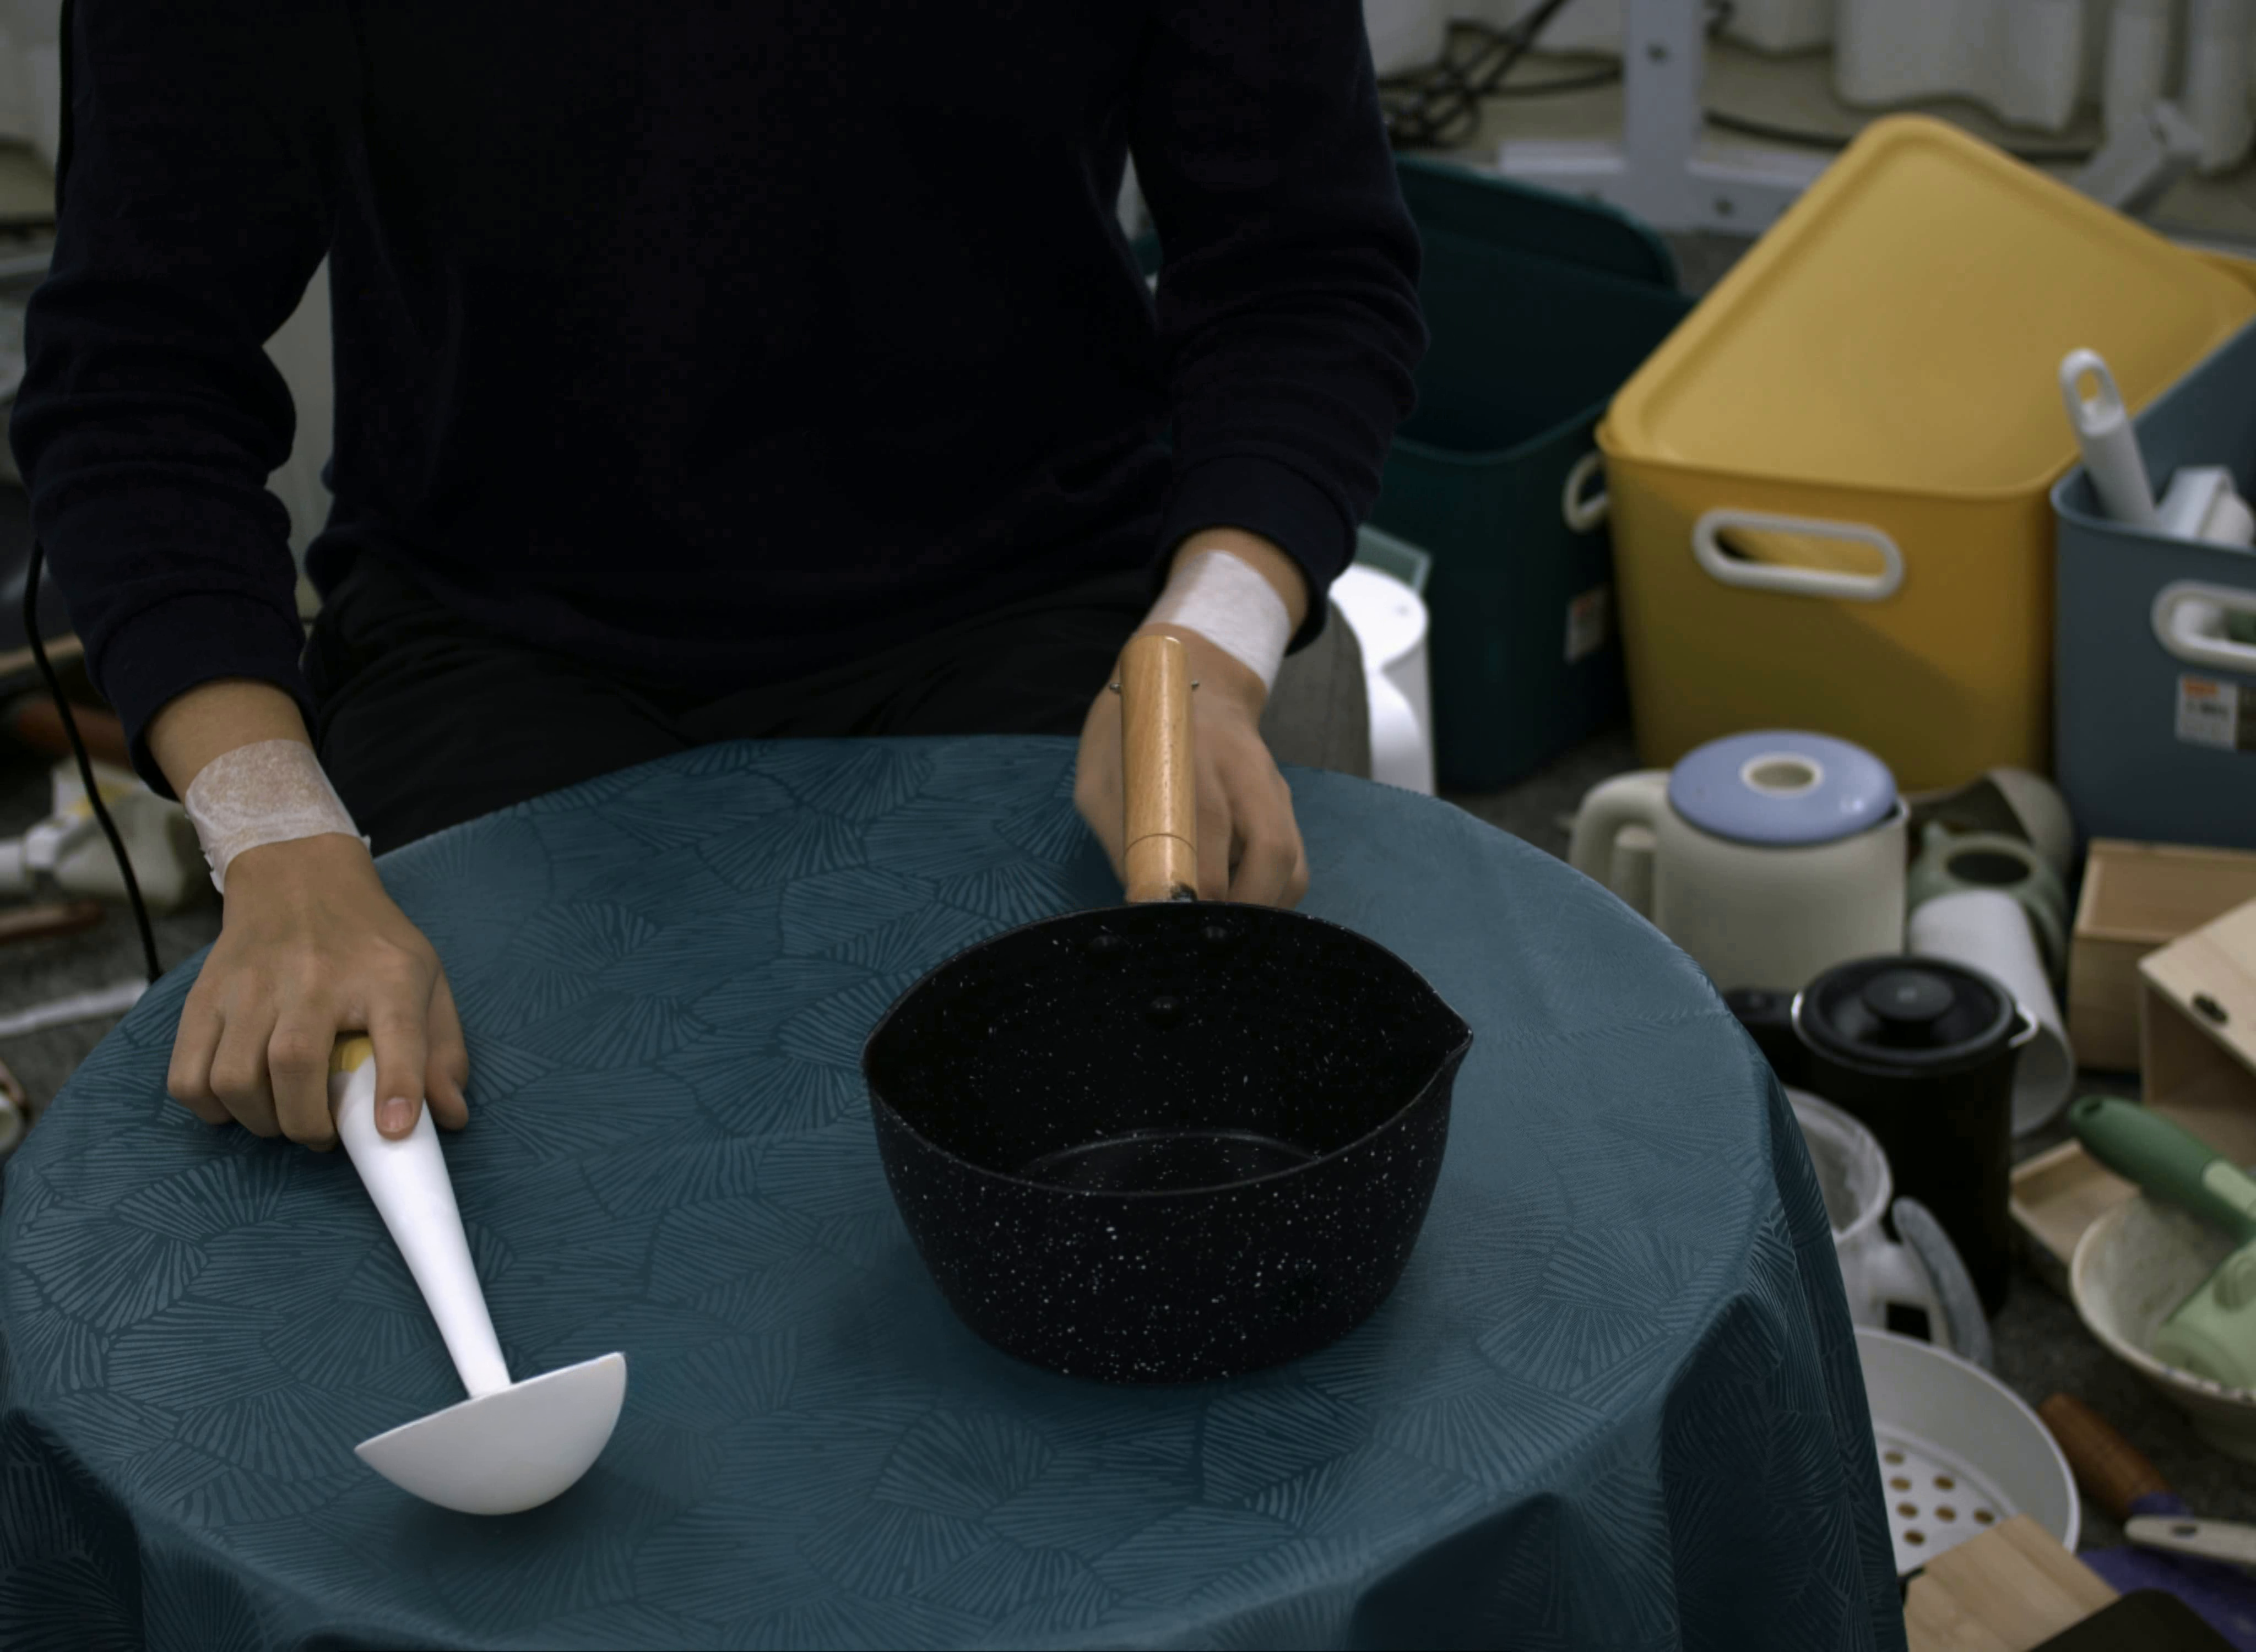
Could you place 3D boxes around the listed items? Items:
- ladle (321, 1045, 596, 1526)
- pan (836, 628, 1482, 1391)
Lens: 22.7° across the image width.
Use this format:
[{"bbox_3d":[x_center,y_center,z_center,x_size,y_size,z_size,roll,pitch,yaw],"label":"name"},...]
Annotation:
[{"bbox_3d":[-0.229,0.135,1.794,0.090,0.069,0.296,-24,30,-5],"label":"ladle"},{"bbox_3d":[0.010,0.057,1.870,0.206,0.107,0.348,-4,29,1],"label":"pan"}]
